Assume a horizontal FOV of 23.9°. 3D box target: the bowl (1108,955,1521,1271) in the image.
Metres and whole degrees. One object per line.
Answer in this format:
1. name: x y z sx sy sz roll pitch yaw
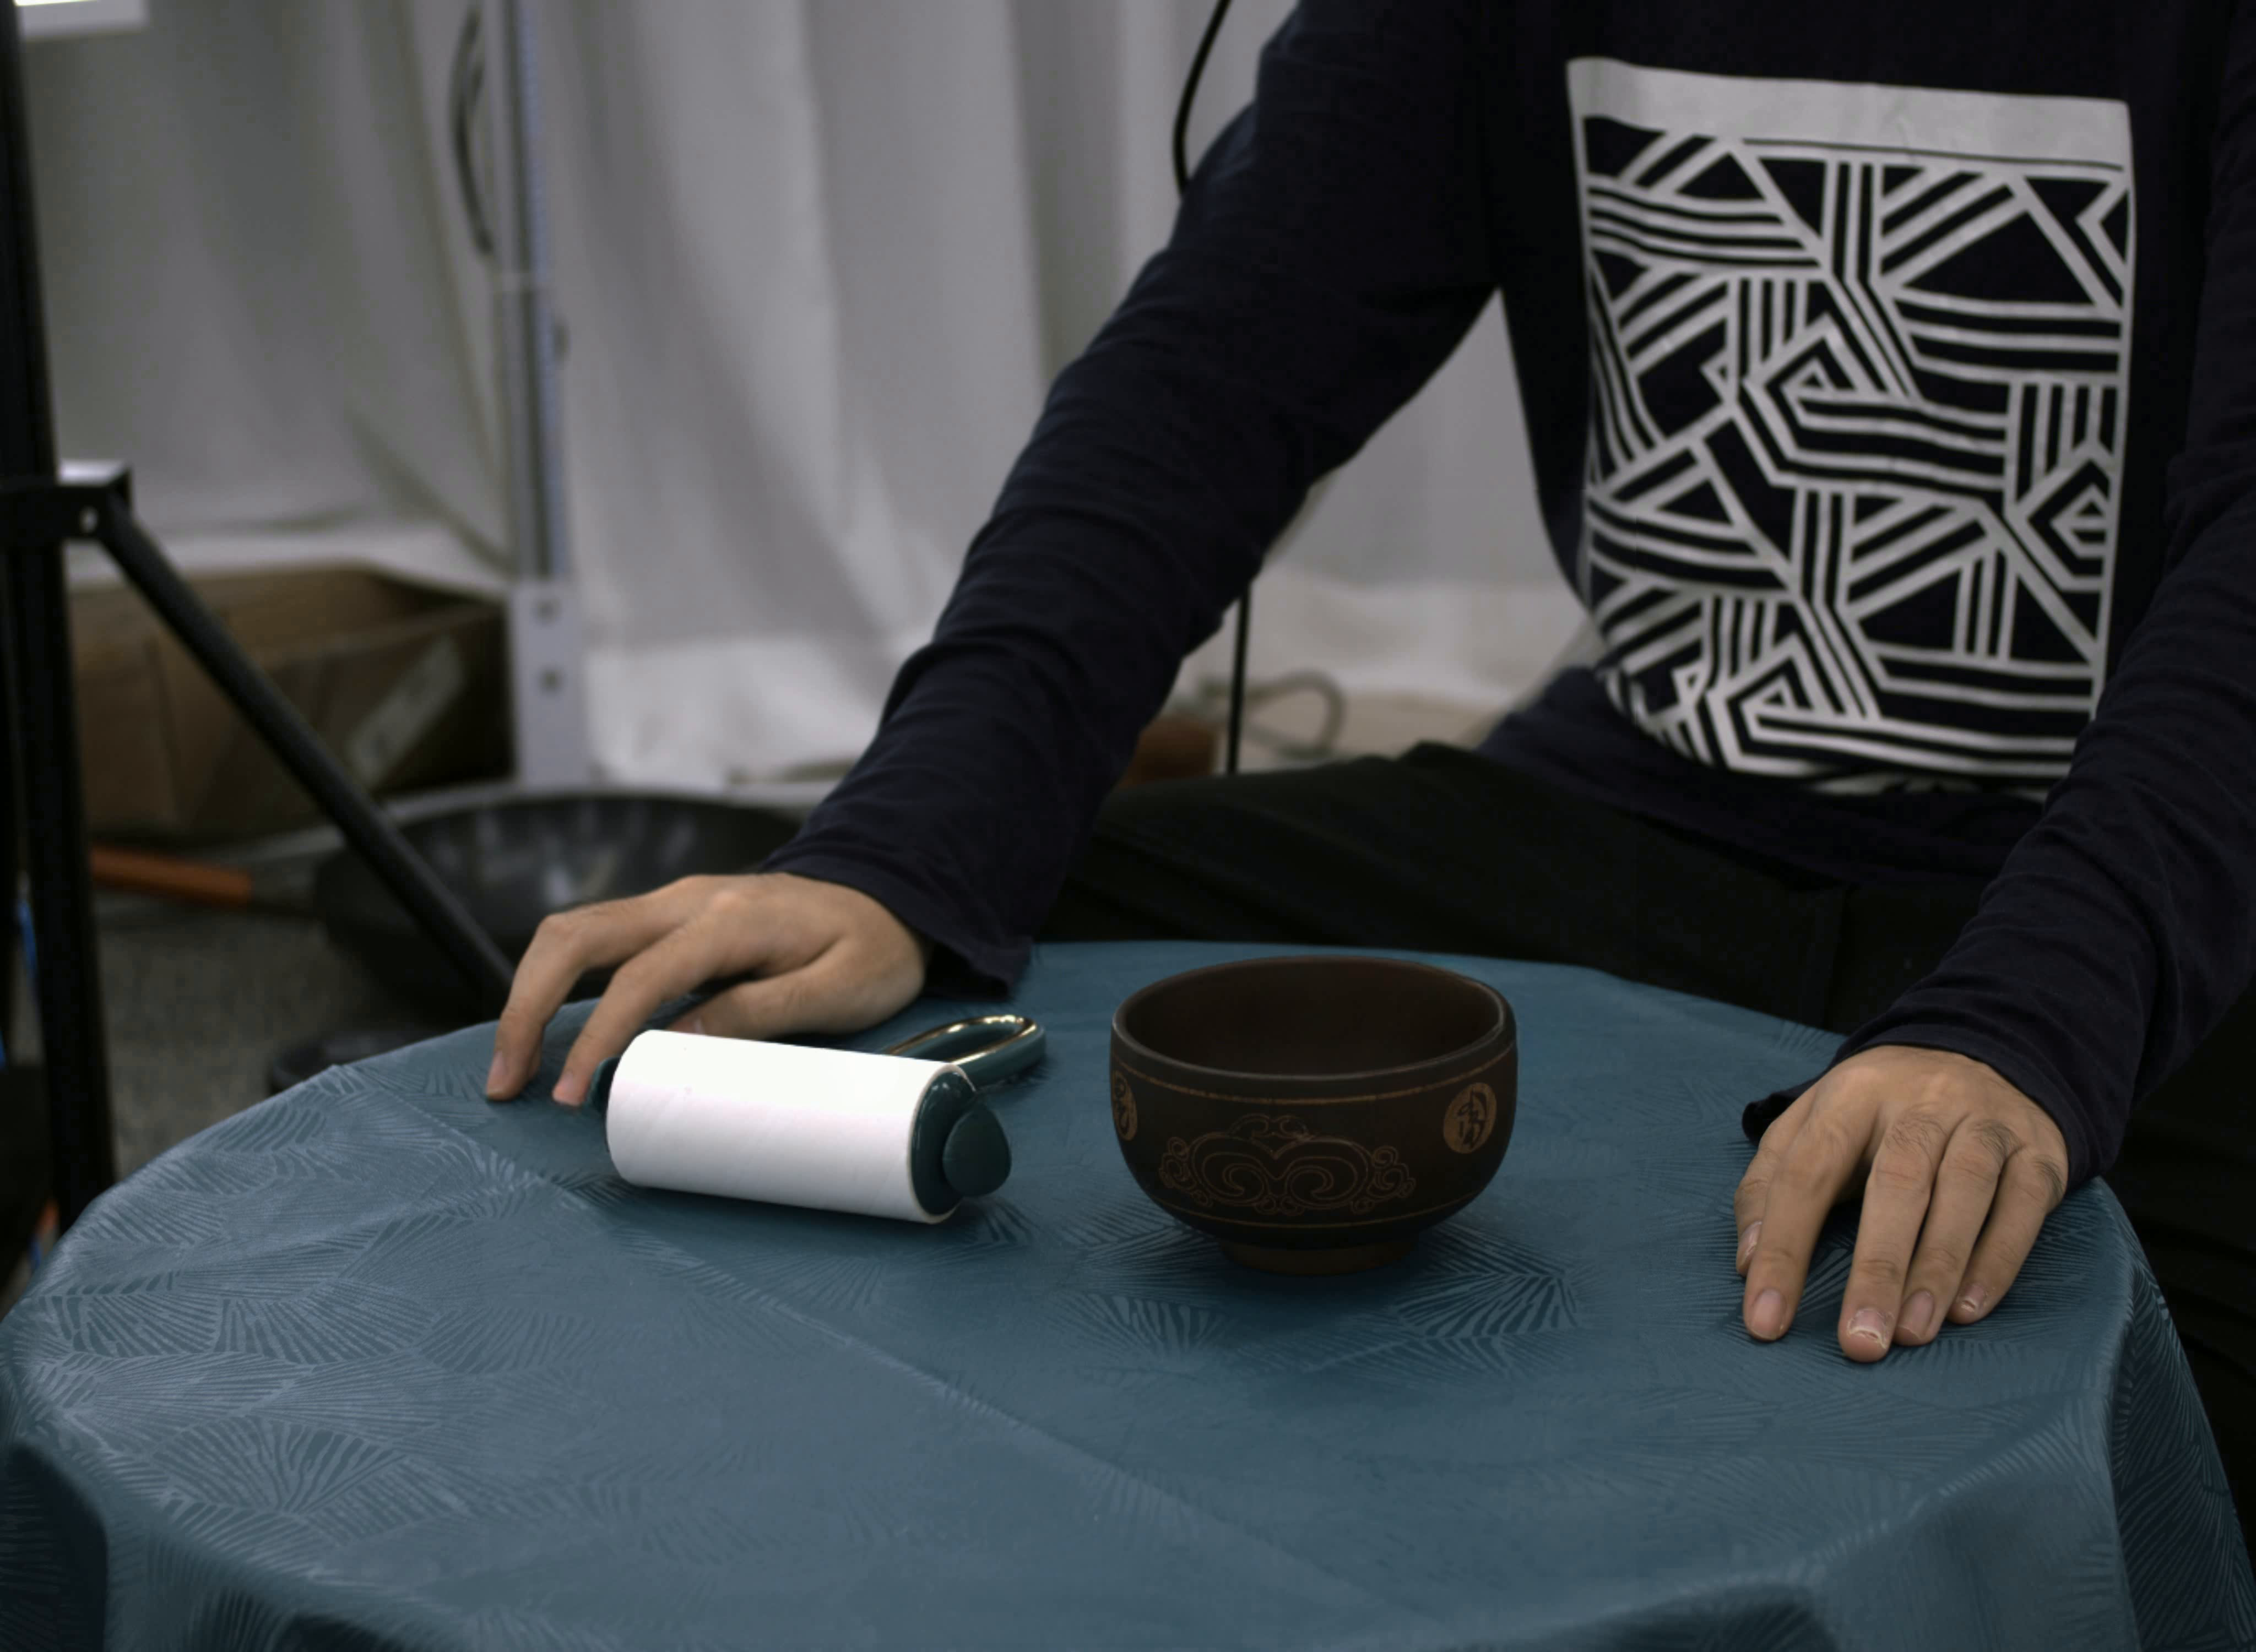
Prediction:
1. bowl: 0.054 0.085 1.503 0.117 0.070 0.118 -3 13 -1

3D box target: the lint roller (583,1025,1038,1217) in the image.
1. lint roller: -0.072 0.075 1.621 0.136 0.048 0.177 5 12 25
